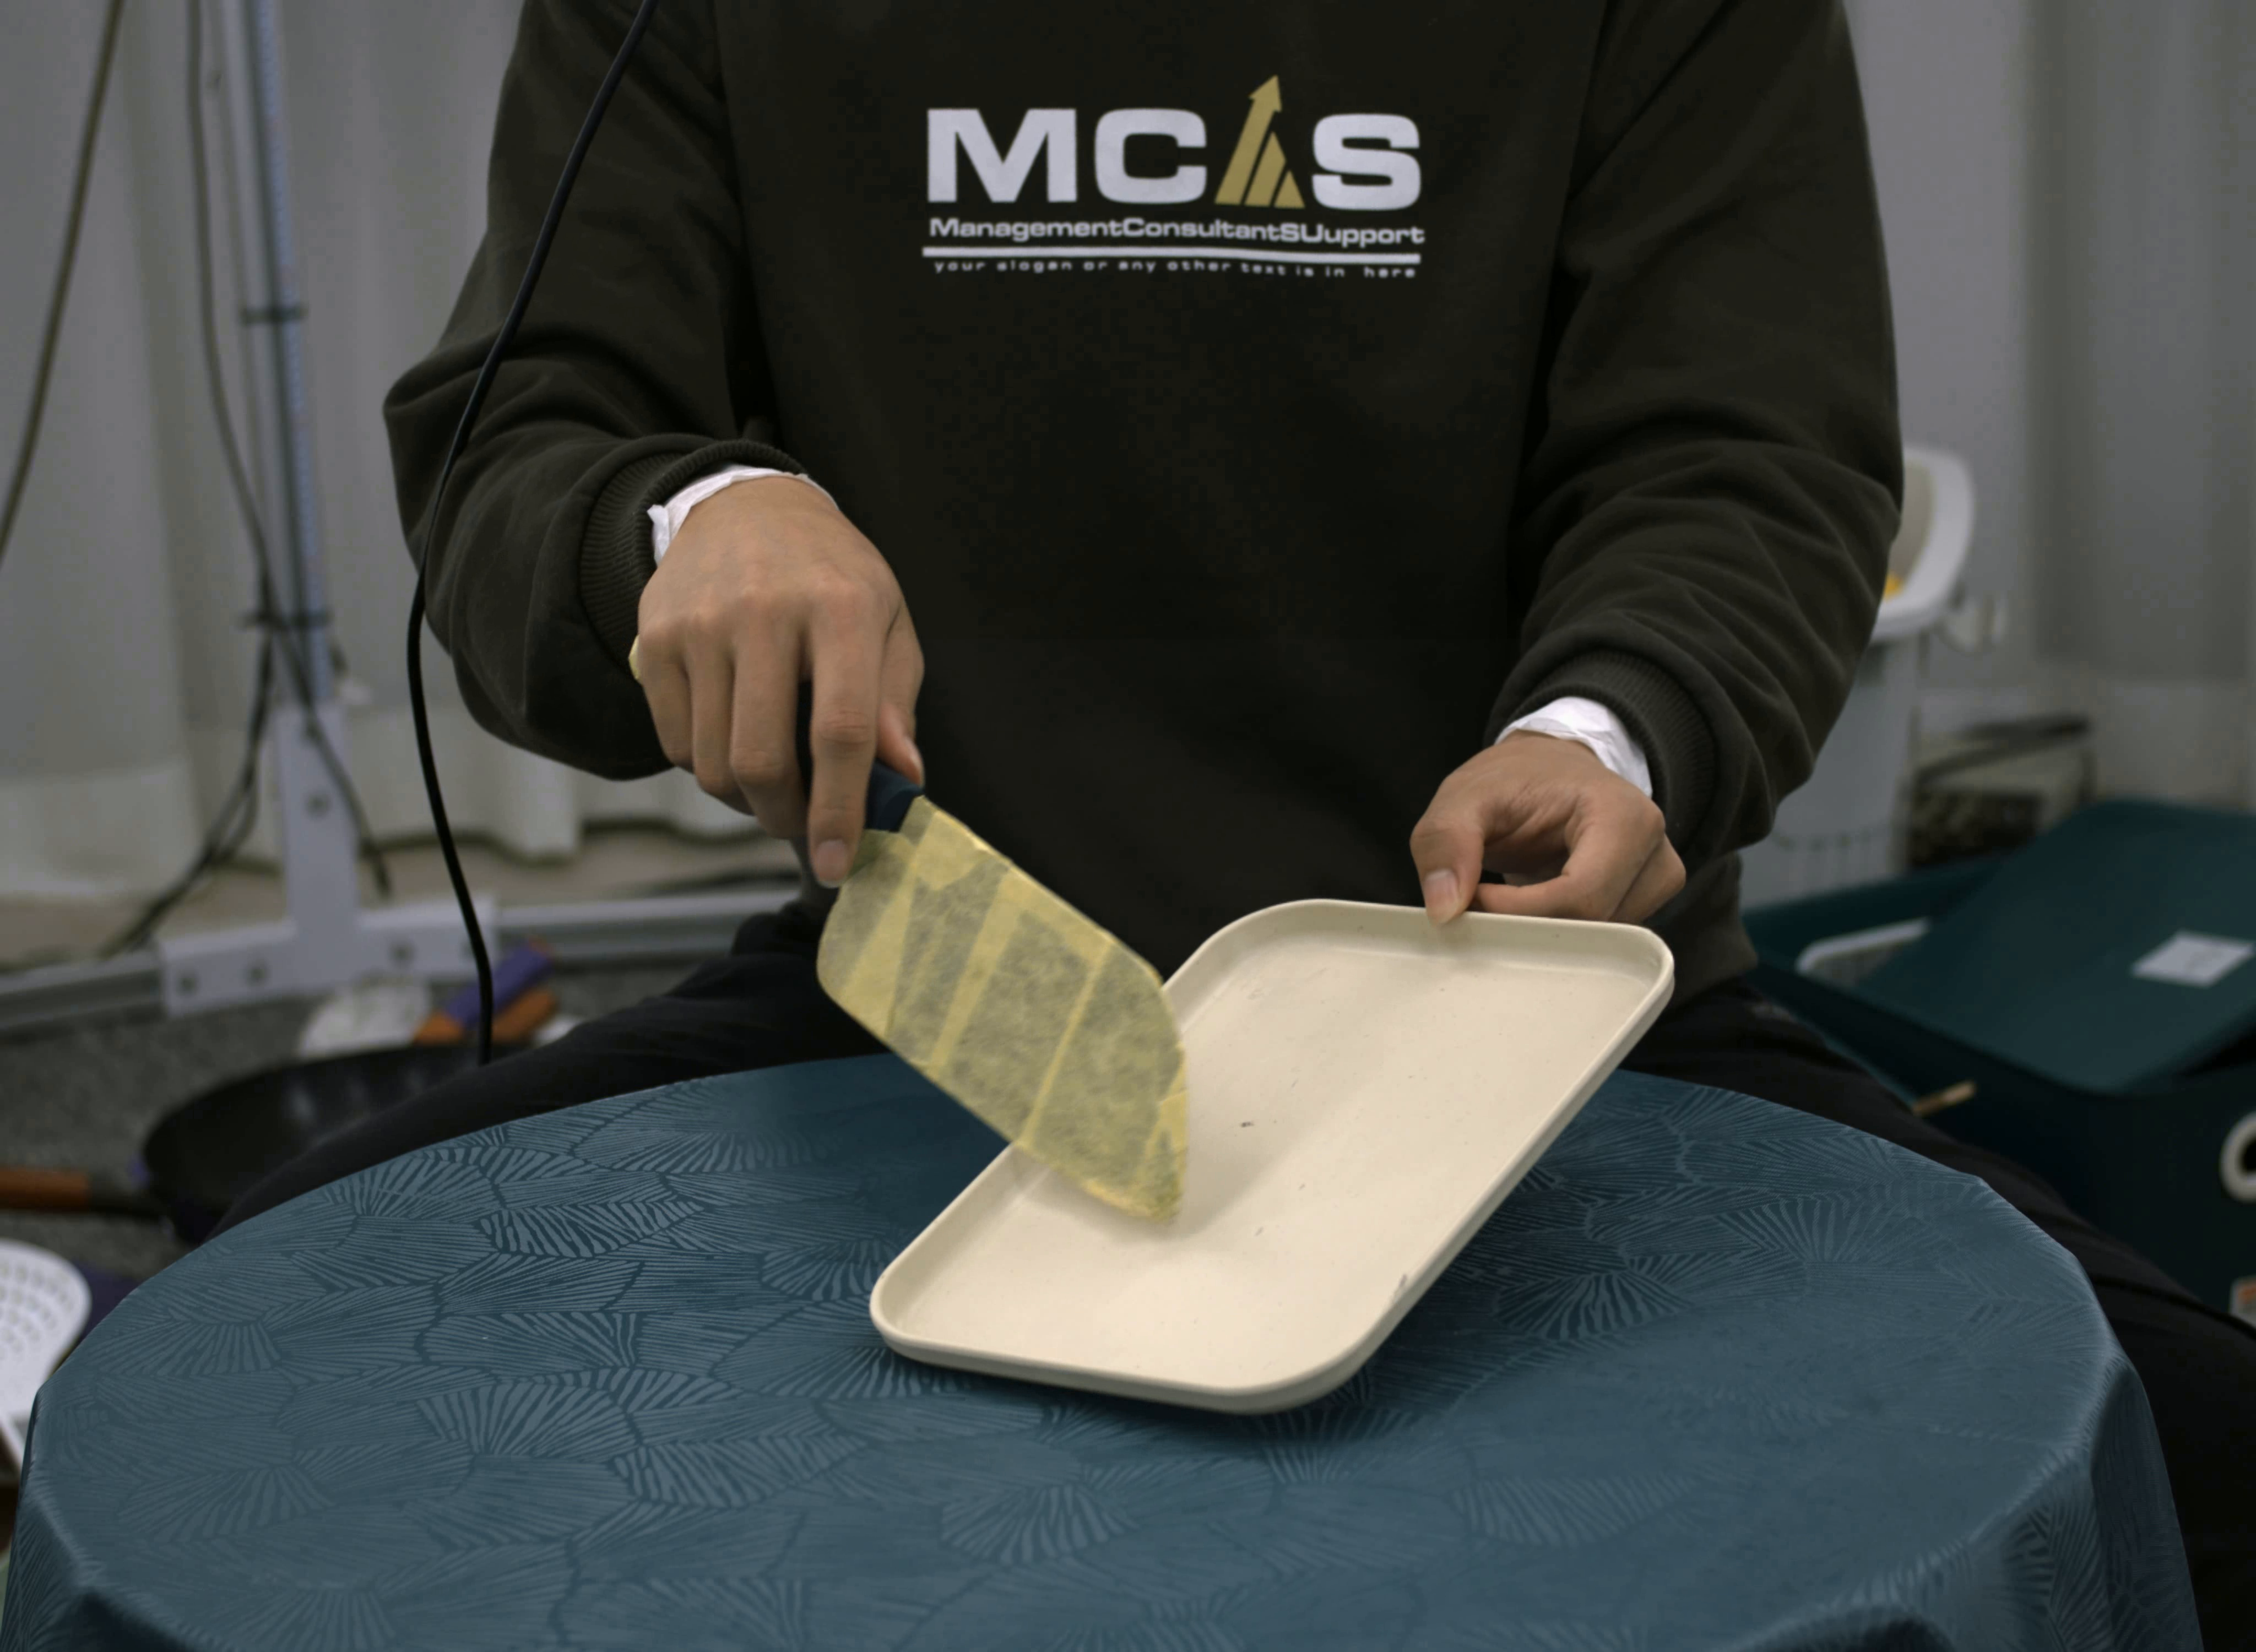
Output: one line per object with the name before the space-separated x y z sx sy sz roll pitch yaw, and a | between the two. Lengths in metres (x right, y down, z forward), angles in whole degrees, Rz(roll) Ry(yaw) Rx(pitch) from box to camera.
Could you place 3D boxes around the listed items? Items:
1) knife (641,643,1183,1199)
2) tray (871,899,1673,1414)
knife | -0.071 0.026 1.681 0.027 0.081 0.293 12 21 -46
tray | 0.046 0.095 1.613 0.172 0.017 0.241 4 34 37
